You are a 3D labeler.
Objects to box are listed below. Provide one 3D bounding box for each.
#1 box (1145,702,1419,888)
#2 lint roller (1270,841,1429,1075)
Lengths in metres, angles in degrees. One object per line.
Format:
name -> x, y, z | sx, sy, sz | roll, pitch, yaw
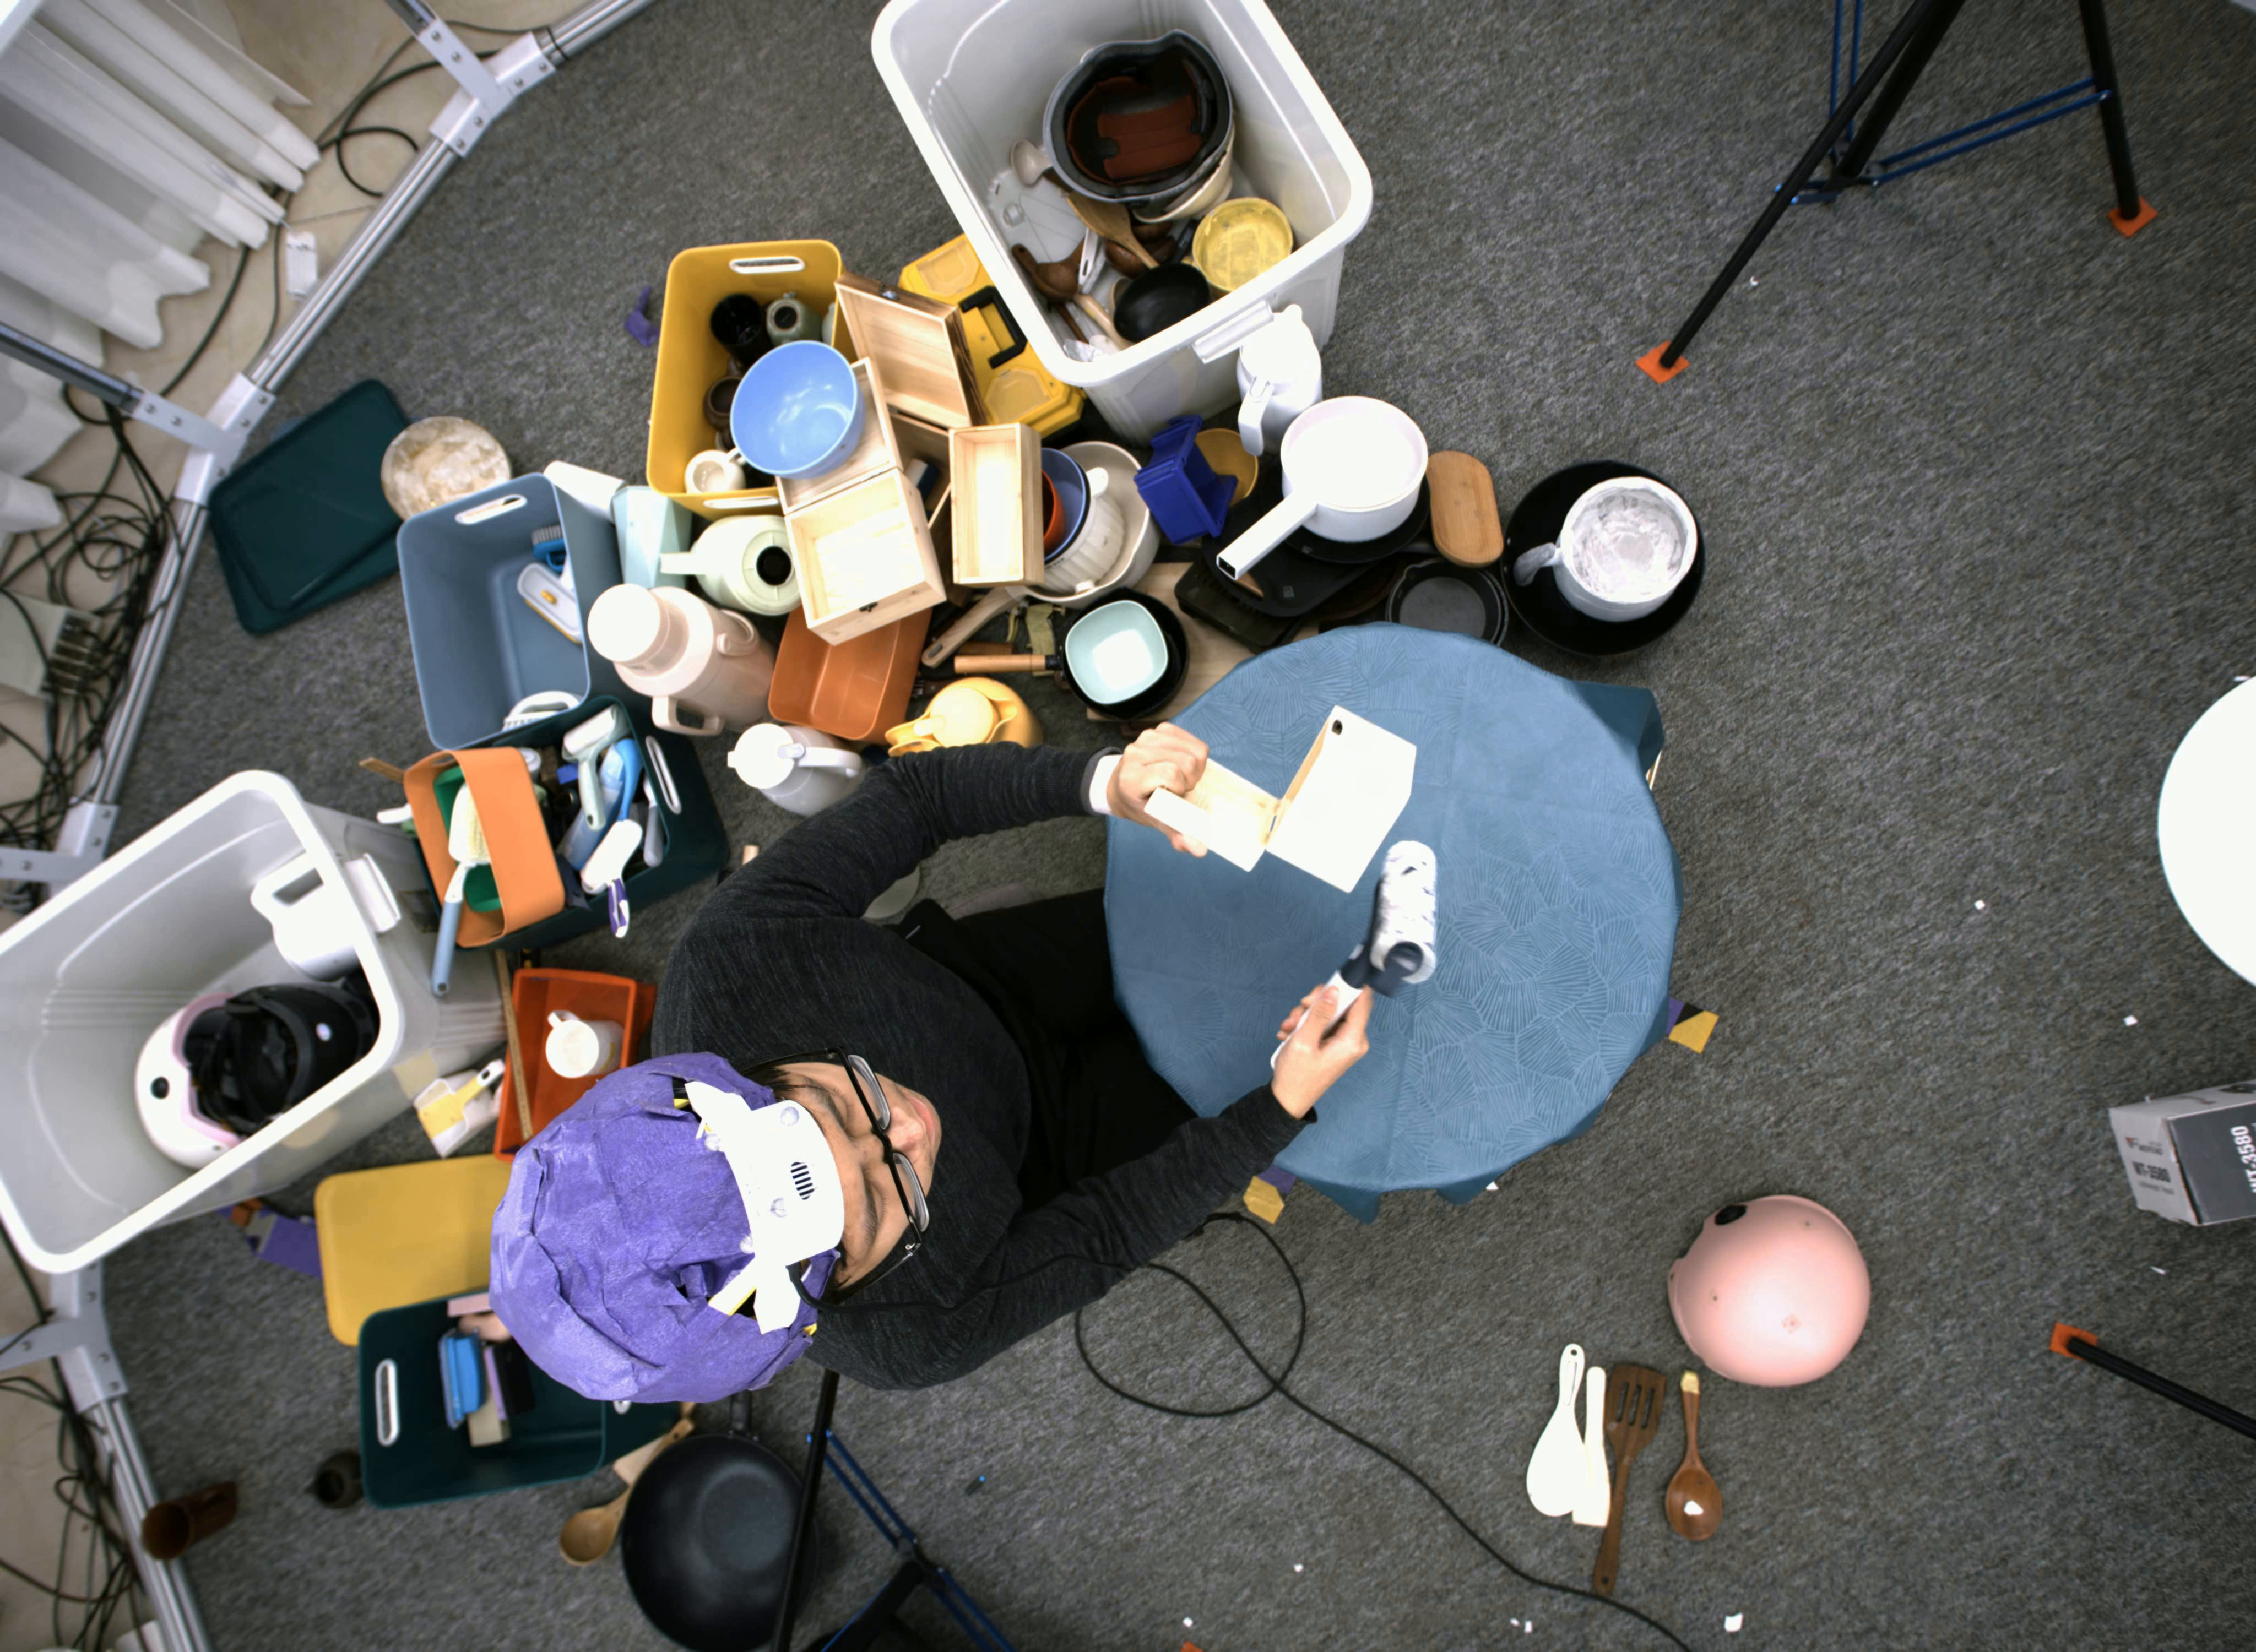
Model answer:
box -> 0.128, -0.044, 1.138 | 0.184, 0.100, 0.137 | 27, 120, 1
lint roller -> 0.202, 0.144, 1.278 | 0.050, 0.172, 0.253 | 26, 124, 1
